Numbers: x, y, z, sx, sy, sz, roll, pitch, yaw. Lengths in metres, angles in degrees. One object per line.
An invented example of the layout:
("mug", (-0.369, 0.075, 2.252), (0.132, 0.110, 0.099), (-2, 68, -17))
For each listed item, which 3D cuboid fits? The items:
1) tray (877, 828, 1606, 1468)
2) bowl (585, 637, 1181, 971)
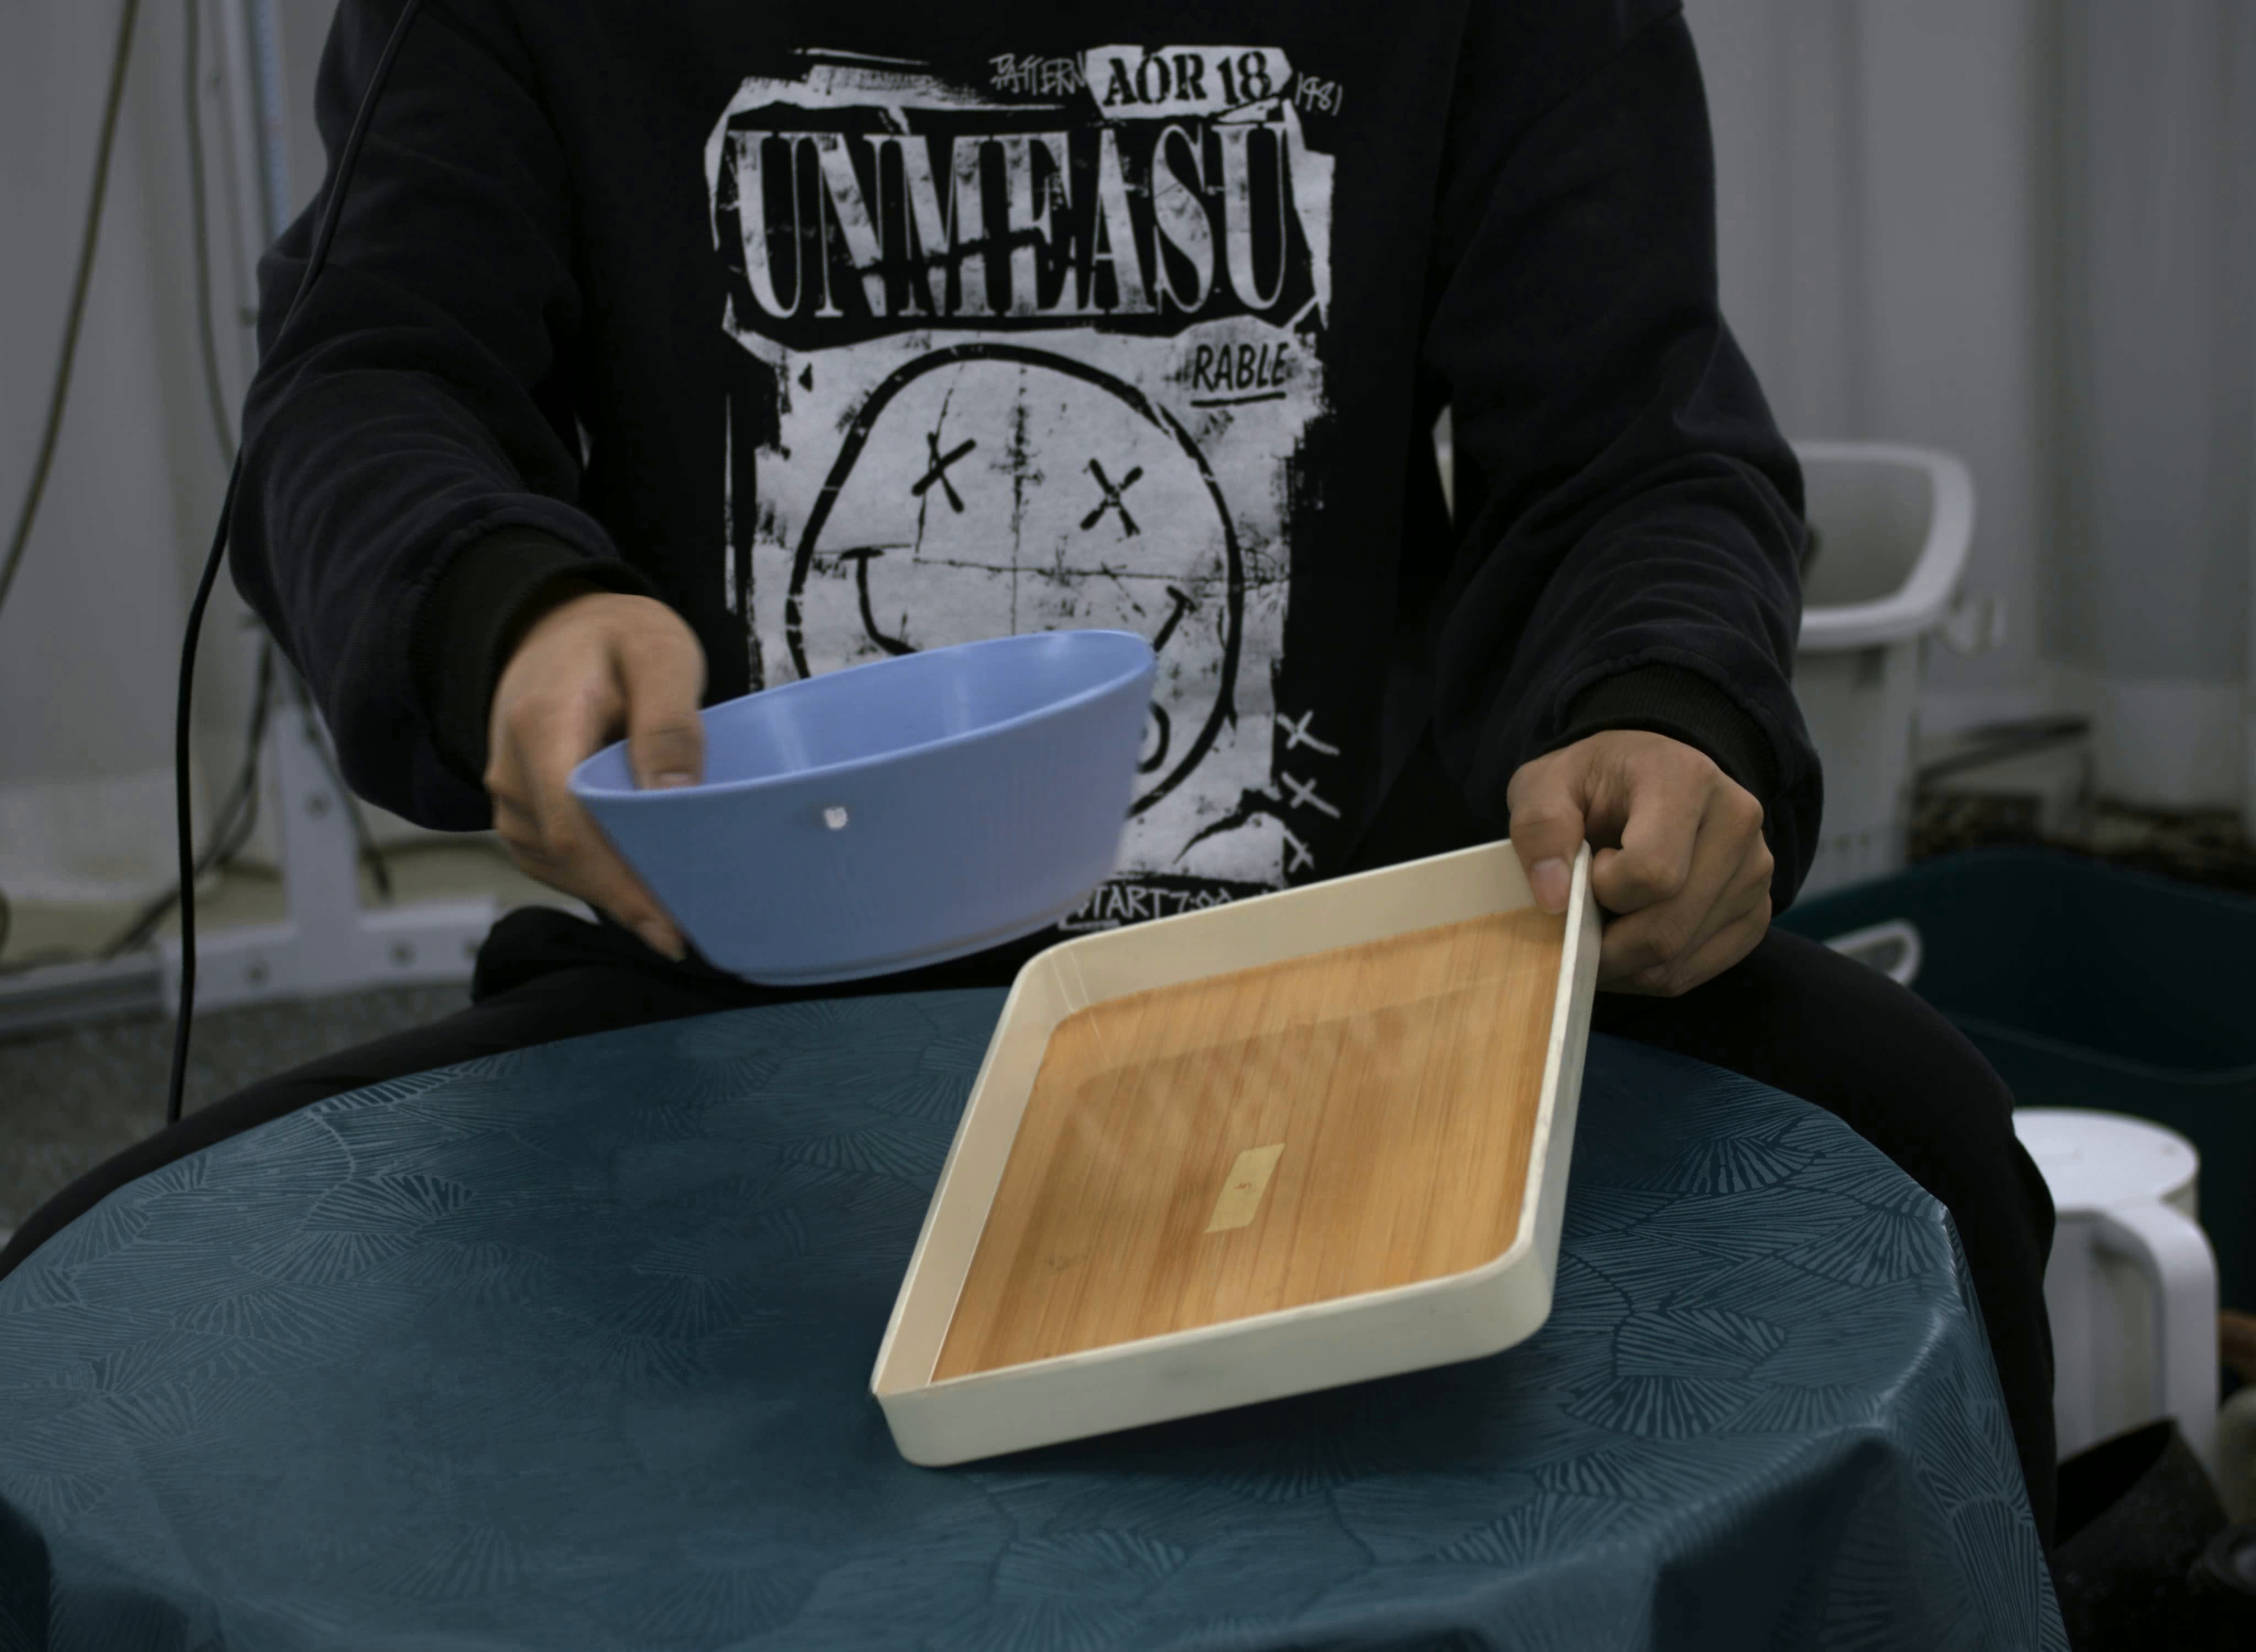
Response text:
("tray", (0.041, 0.089, 1.605), (0.191, 0.027, 0.303), (-13, 21, 13))
("bowl", (-0.065, -0.004, 1.587), (0.175, 0.070, 0.177), (-10, 9, 1))
